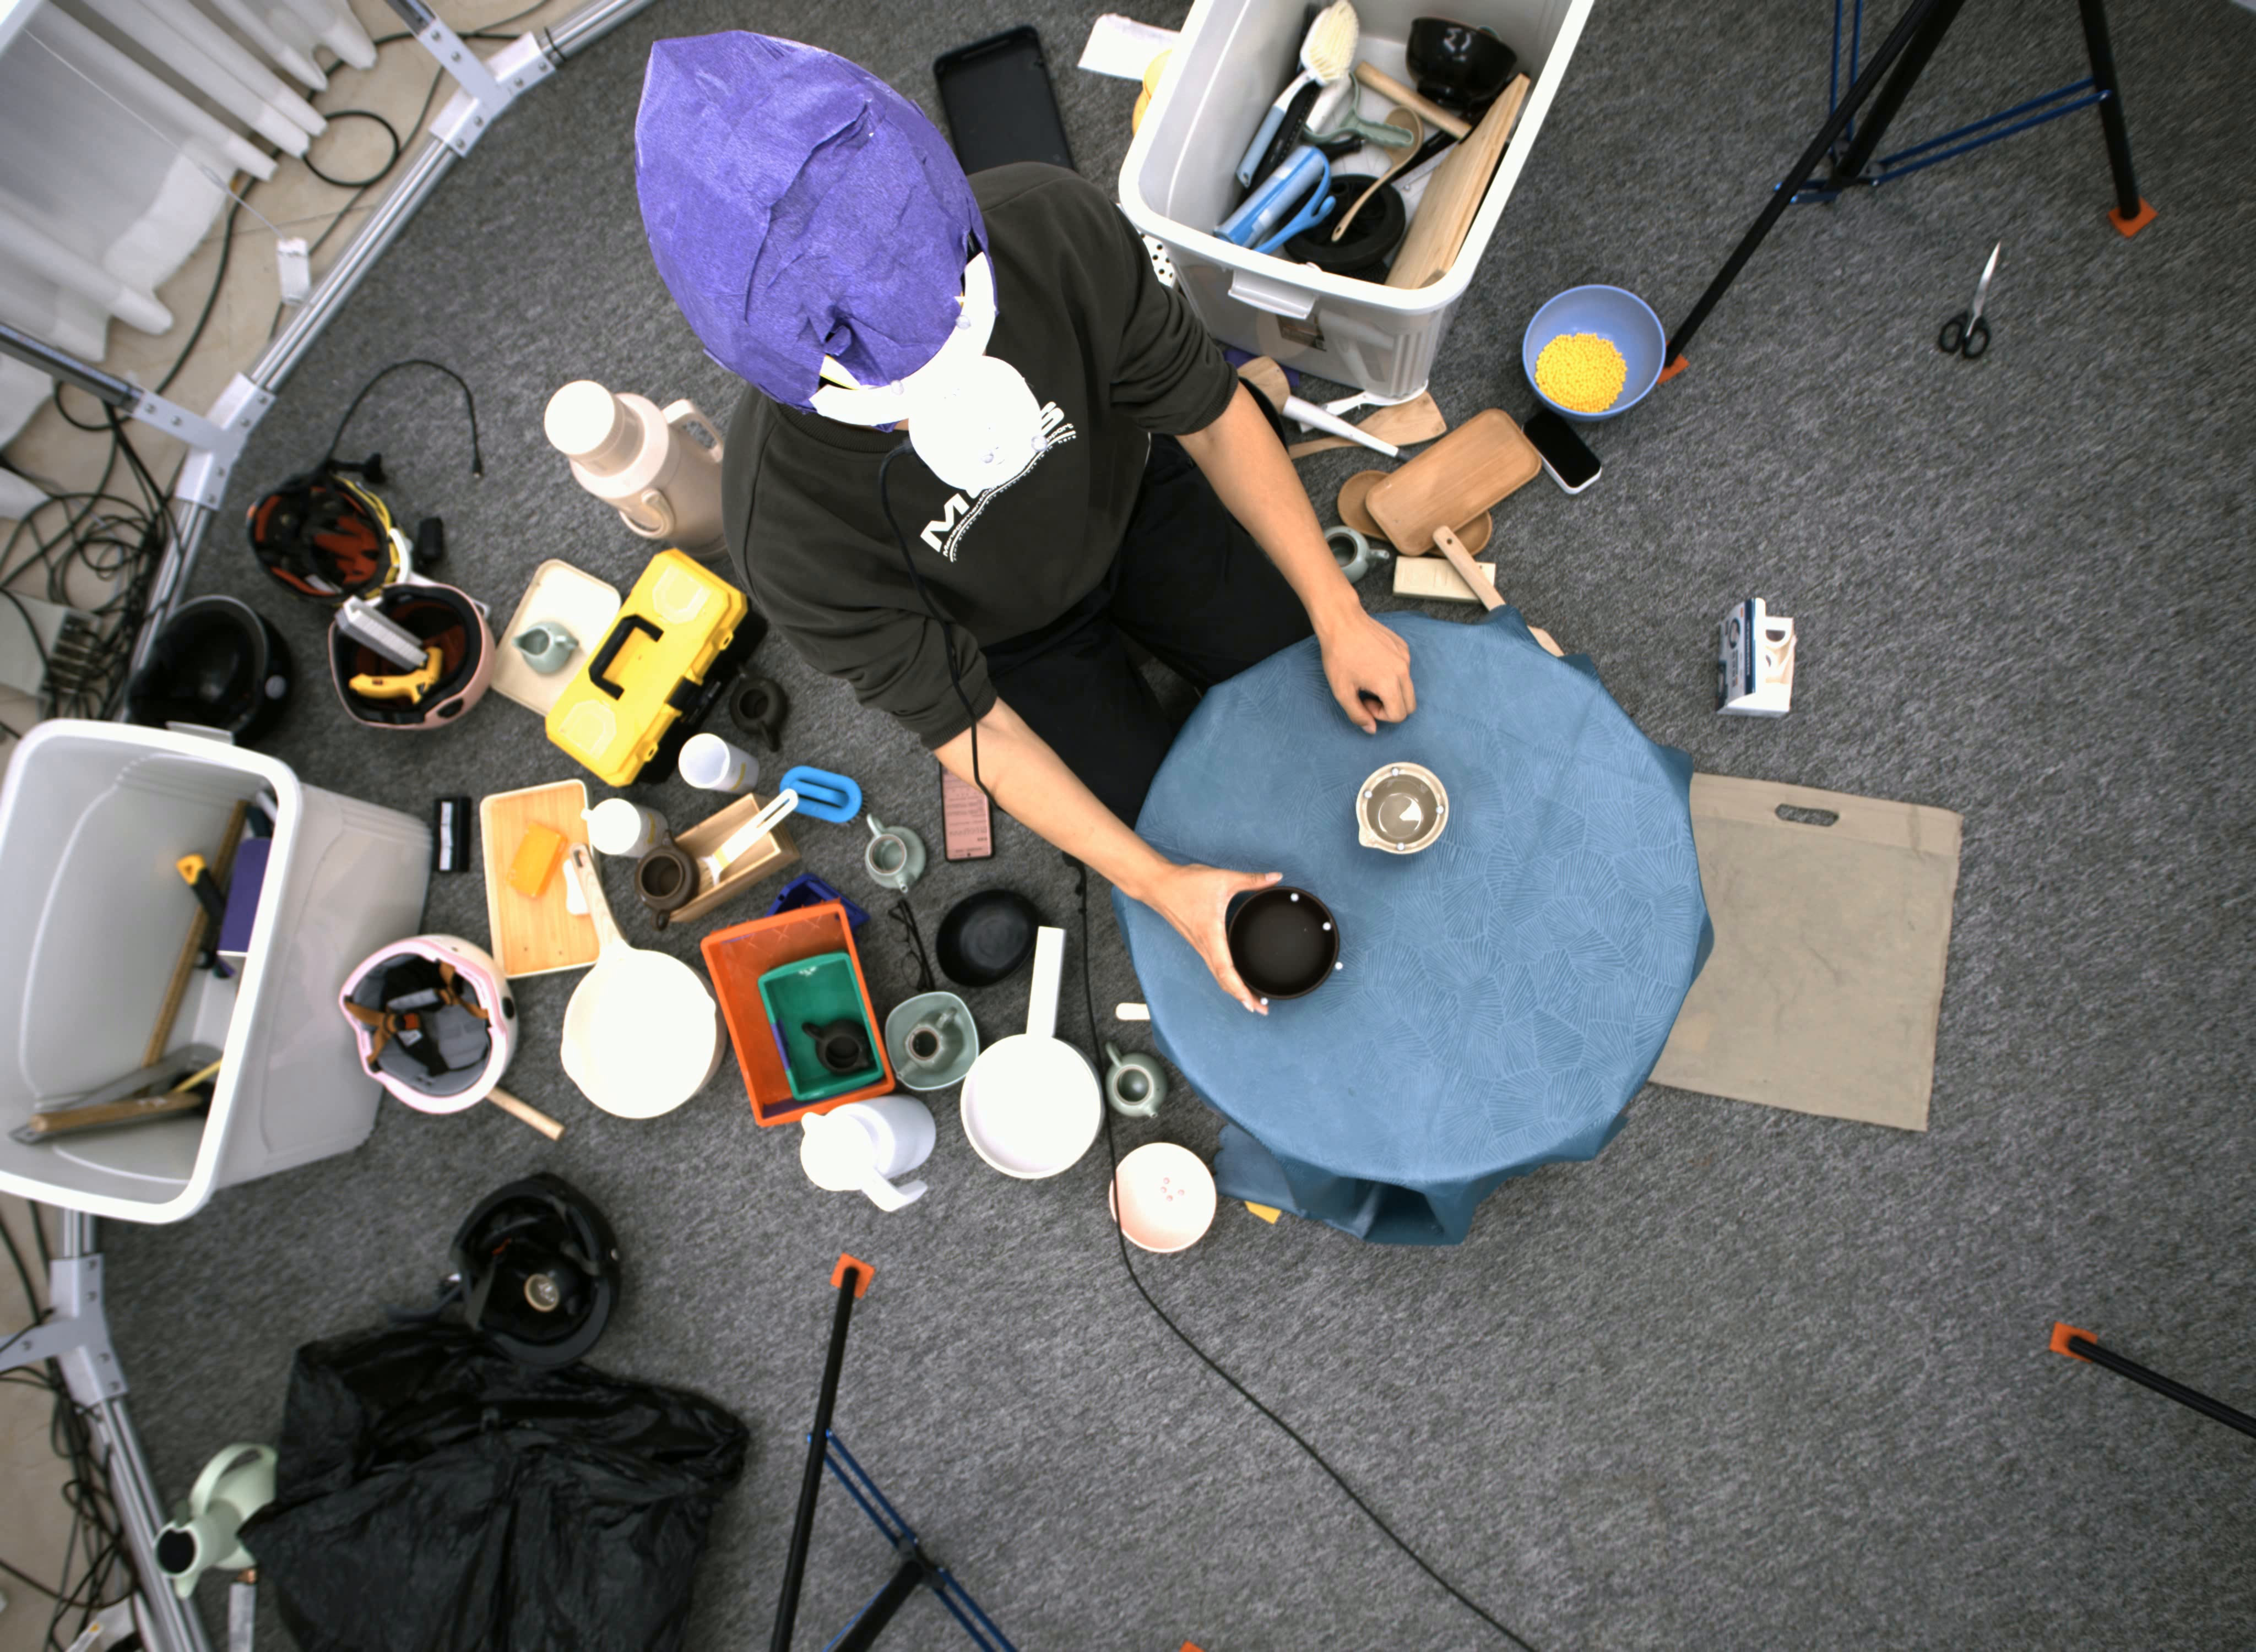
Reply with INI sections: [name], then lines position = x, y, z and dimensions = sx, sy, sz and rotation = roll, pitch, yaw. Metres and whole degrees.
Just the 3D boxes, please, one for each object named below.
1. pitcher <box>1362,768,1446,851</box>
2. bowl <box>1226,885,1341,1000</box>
[pitcher]
position = 0.282, -0.013, 1.425
dimensions = 0.096, 0.071, 0.083
rotation = -35, 81, 6
[bowl]
position = 0.162, 0.121, 1.440
dimensions = 0.118, 0.070, 0.117
rotation = -1, 84, 11
